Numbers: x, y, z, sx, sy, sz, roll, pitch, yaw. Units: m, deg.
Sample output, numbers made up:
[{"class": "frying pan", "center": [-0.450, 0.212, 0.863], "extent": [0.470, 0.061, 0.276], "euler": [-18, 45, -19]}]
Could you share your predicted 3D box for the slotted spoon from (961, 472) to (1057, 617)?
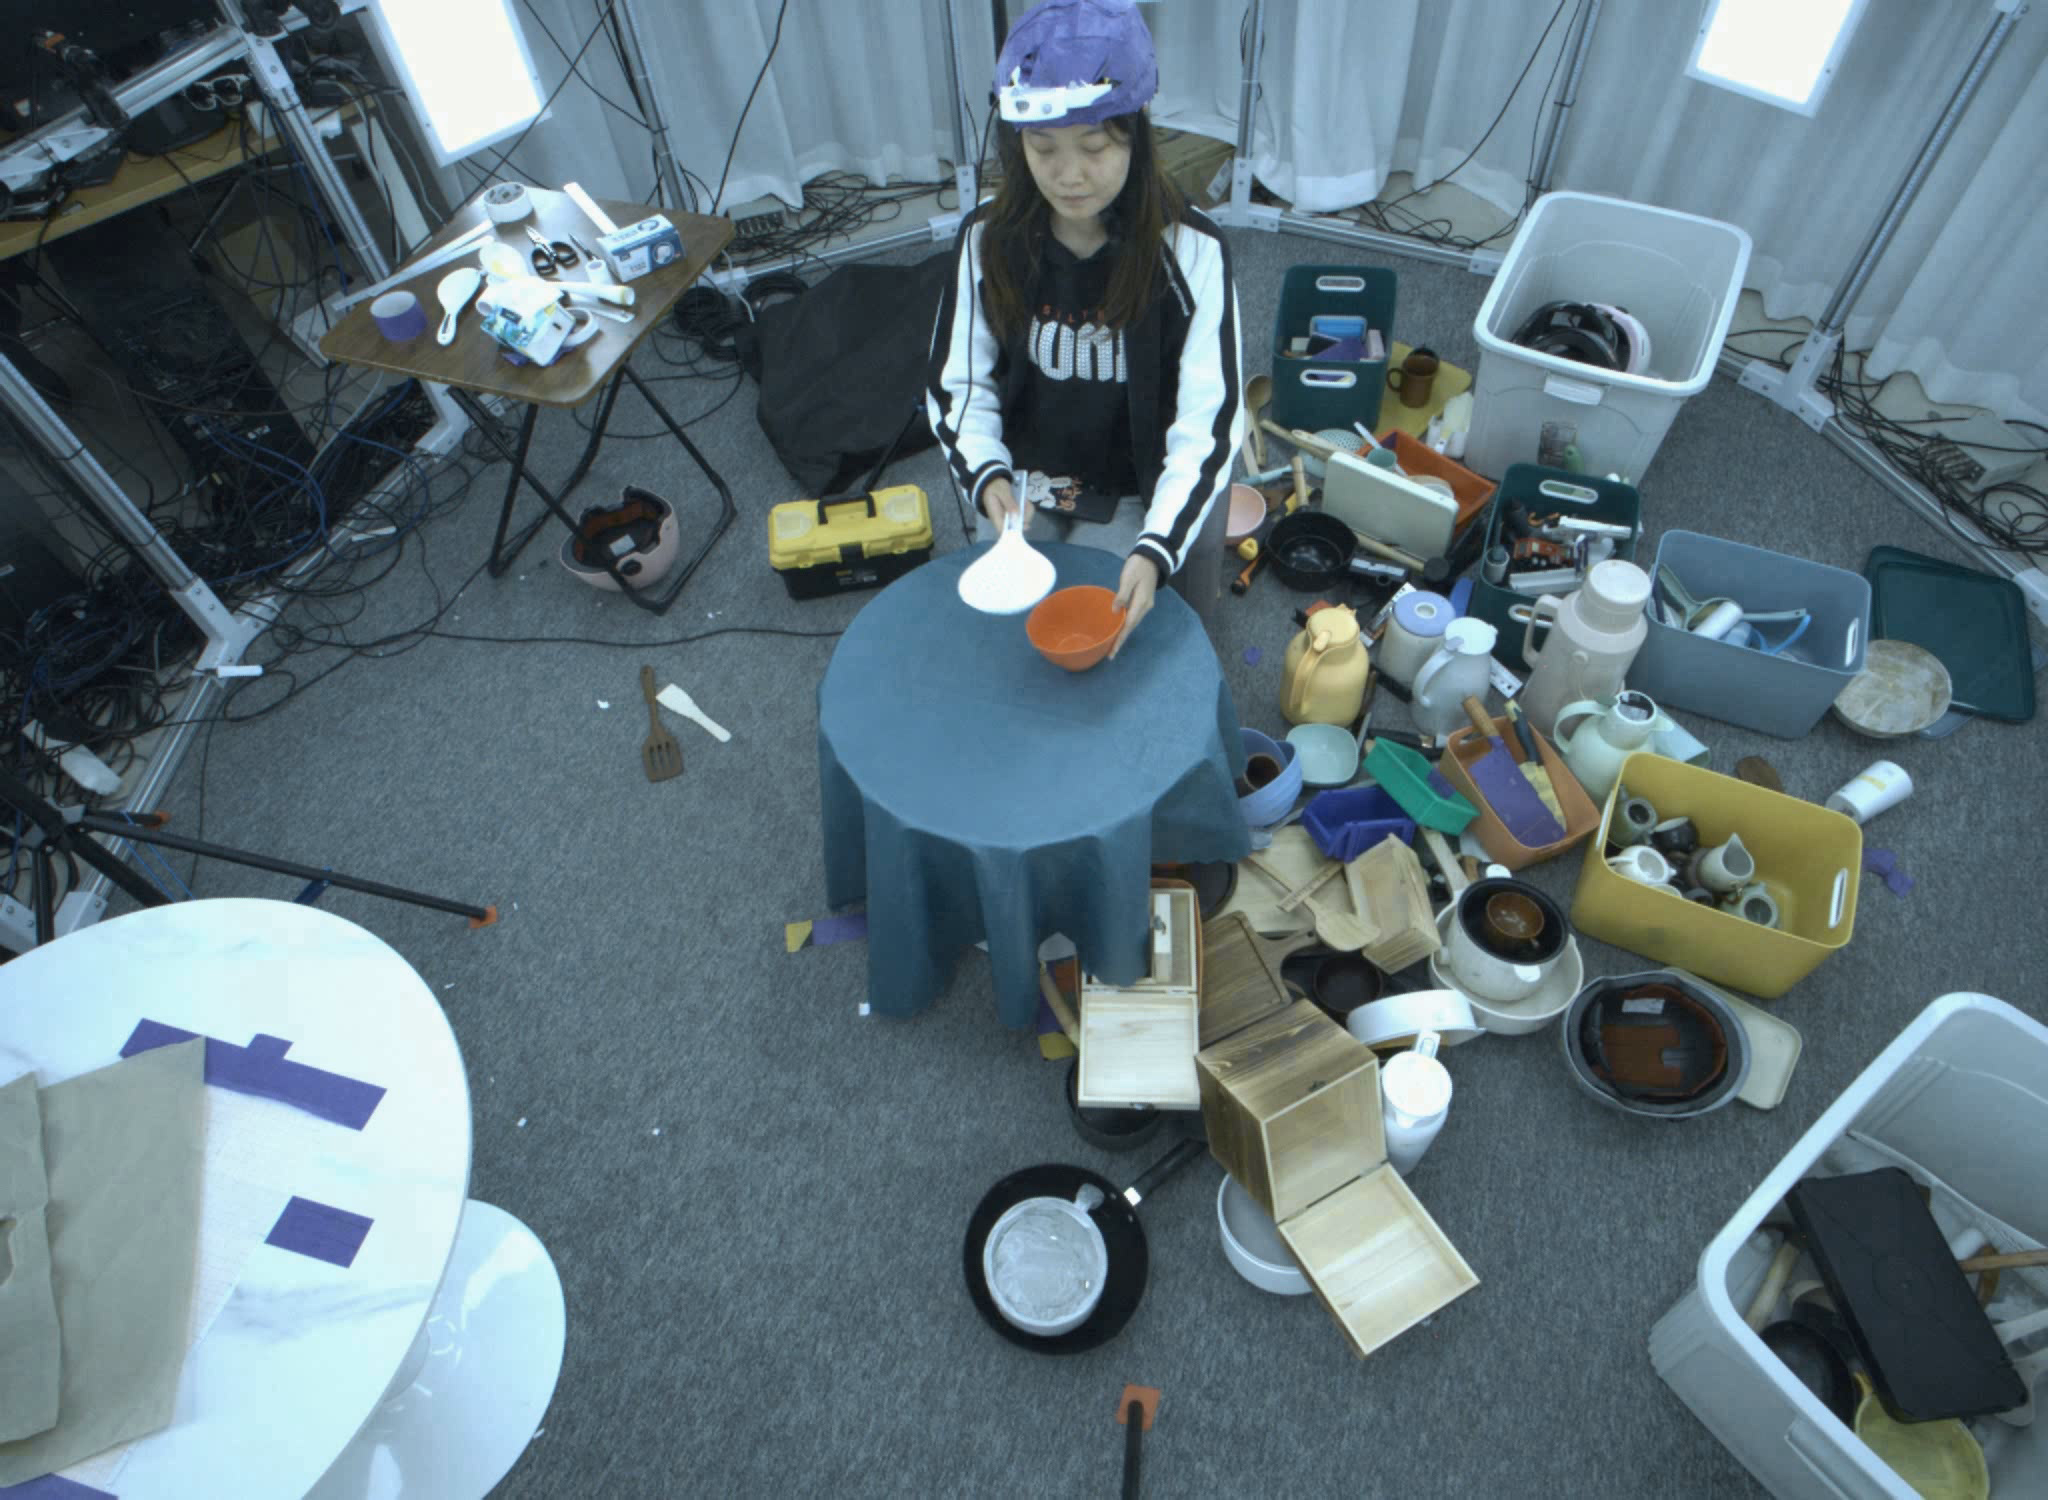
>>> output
[{"class": "slotted spoon", "center": [-0.016, -0.307, 1.800], "extent": [0.135, 0.046, 0.346], "euler": [-3, 51, 7]}]

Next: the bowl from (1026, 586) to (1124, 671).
[{"class": "bowl", "center": [0.080, -0.169, 1.835], "extent": [0.147, 0.106, 0.146], "euler": [-4, 55, 7]}]
